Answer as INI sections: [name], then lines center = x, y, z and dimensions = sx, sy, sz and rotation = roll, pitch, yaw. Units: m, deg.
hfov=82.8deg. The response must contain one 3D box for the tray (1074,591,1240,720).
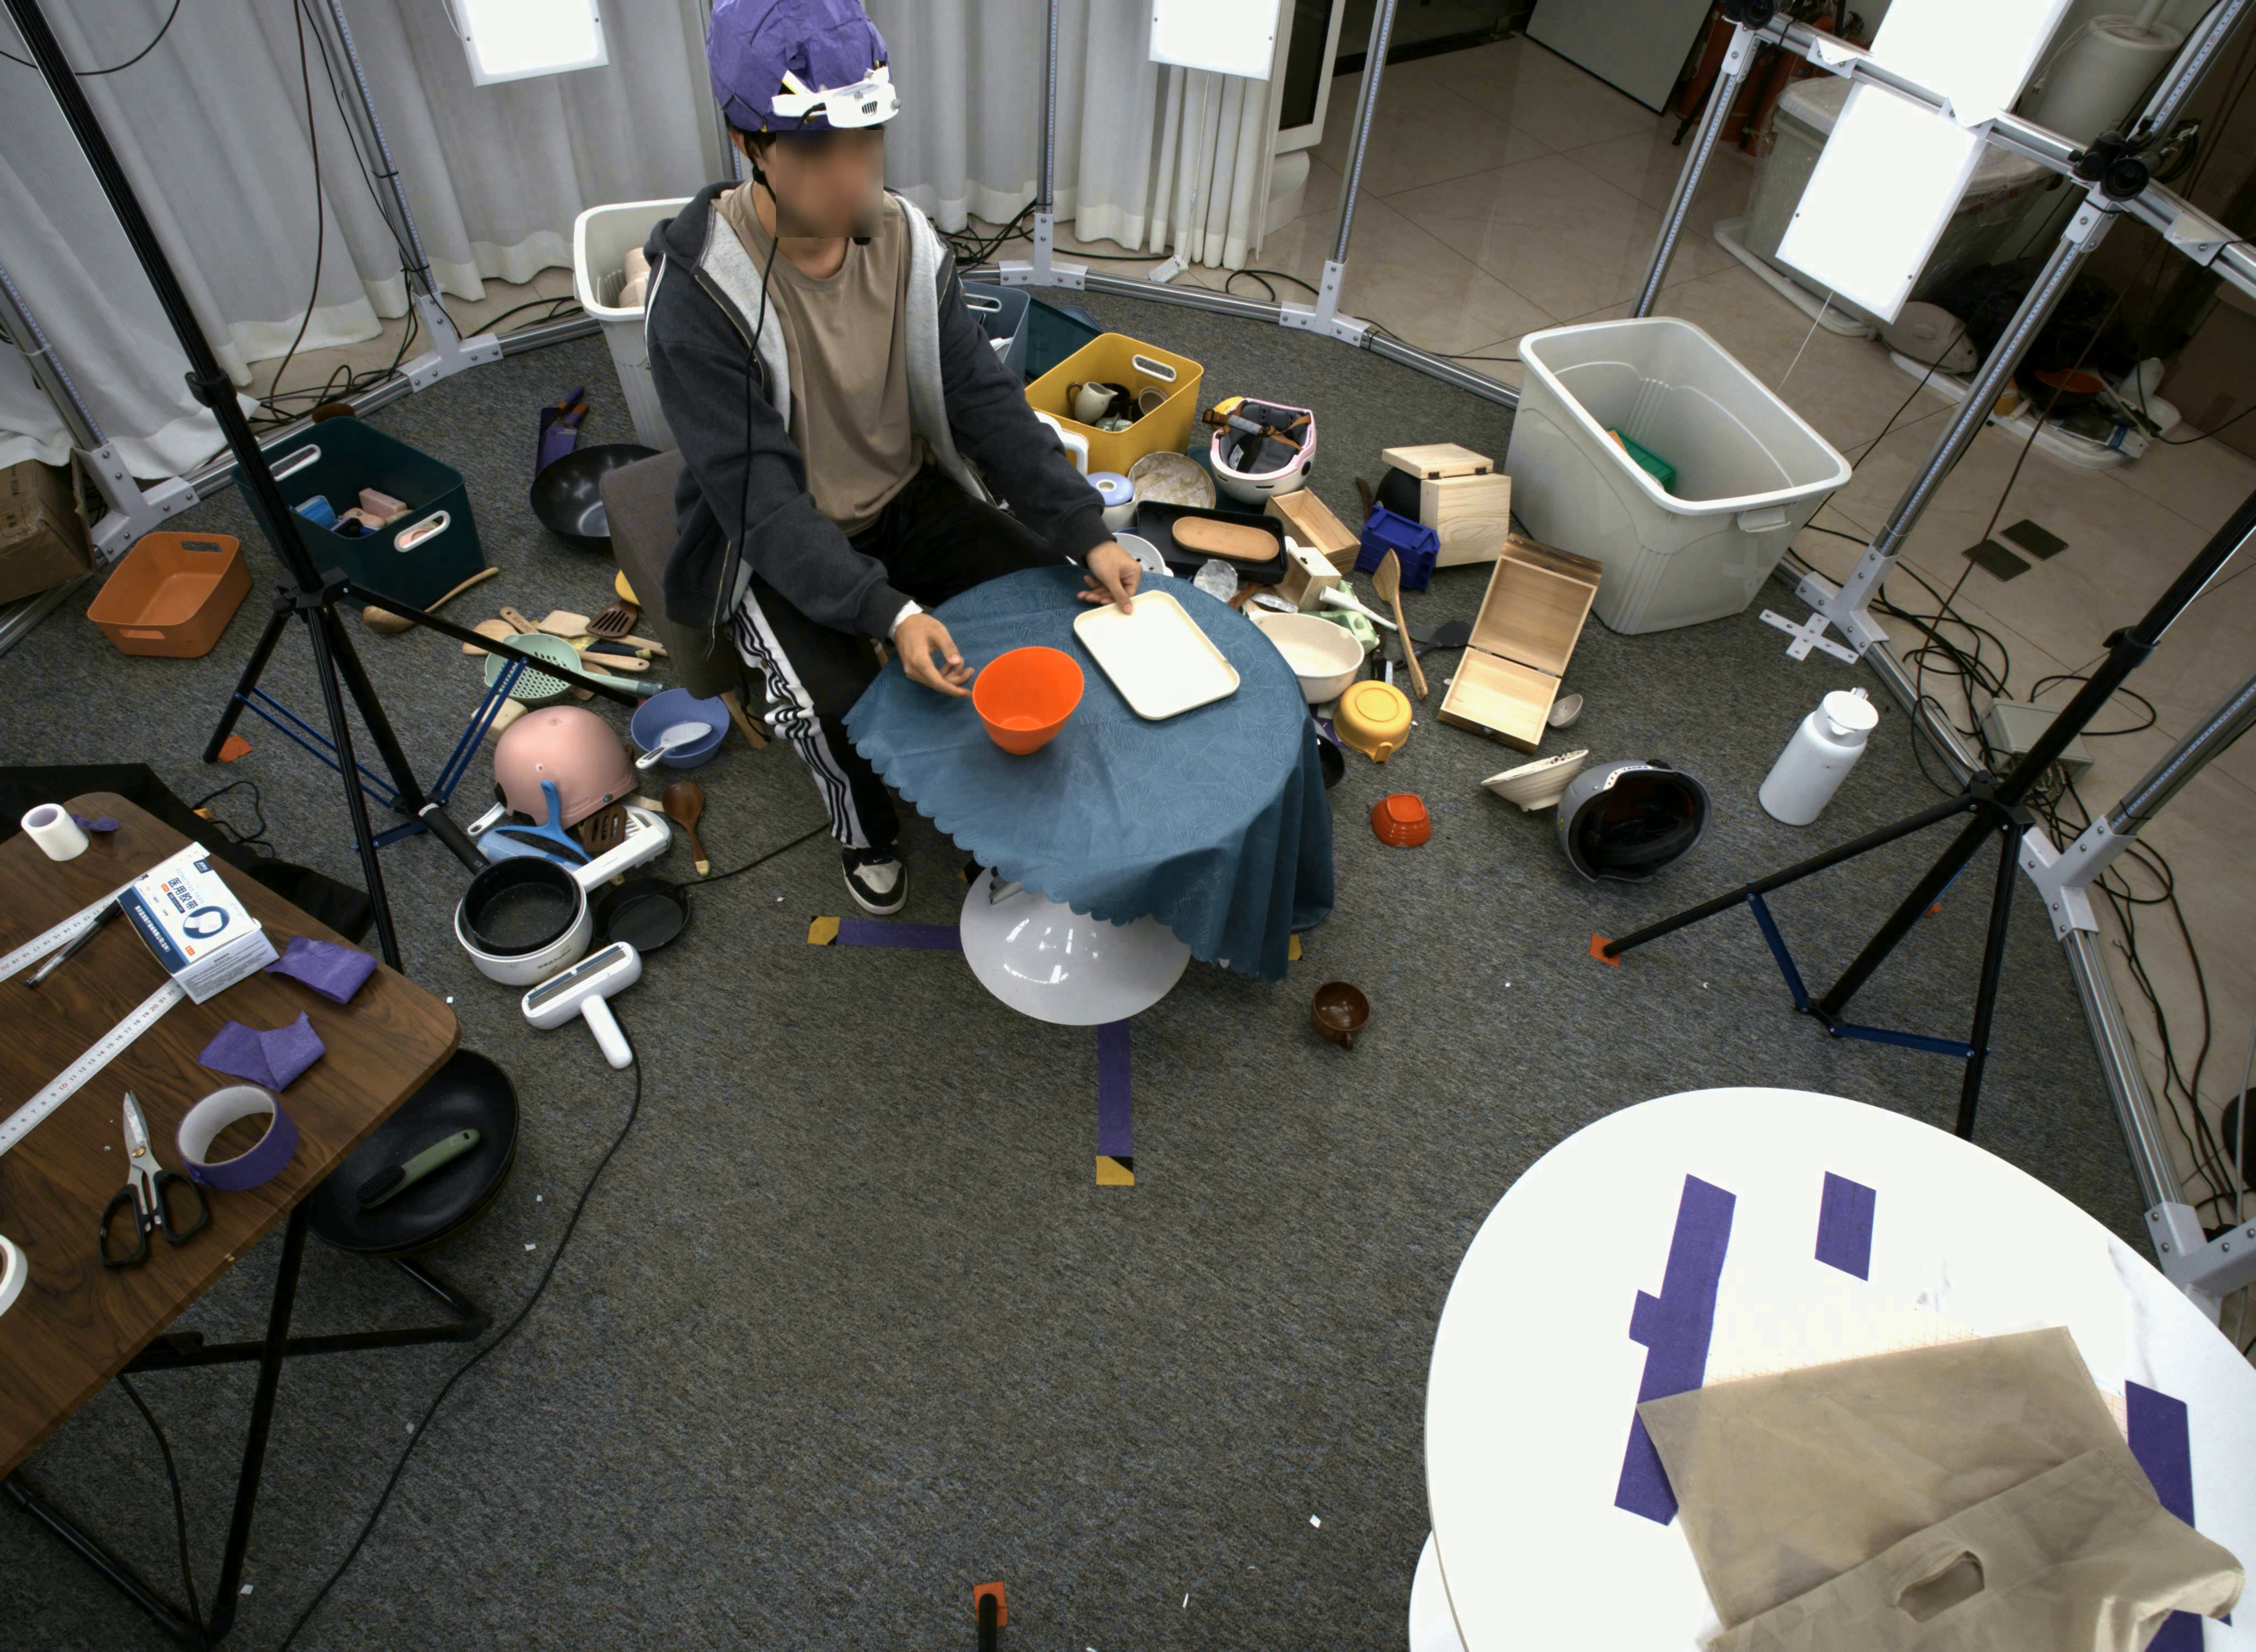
[tray]
center = 0.040, -0.250, 1.875
dimensions = 0.172, 0.017, 0.245
rotation = -21, 53, -20

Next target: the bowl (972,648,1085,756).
[bowl]
center = -0.134, -0.156, 1.727
dimensions = 0.148, 0.102, 0.152
rotation = 2, 49, -3
